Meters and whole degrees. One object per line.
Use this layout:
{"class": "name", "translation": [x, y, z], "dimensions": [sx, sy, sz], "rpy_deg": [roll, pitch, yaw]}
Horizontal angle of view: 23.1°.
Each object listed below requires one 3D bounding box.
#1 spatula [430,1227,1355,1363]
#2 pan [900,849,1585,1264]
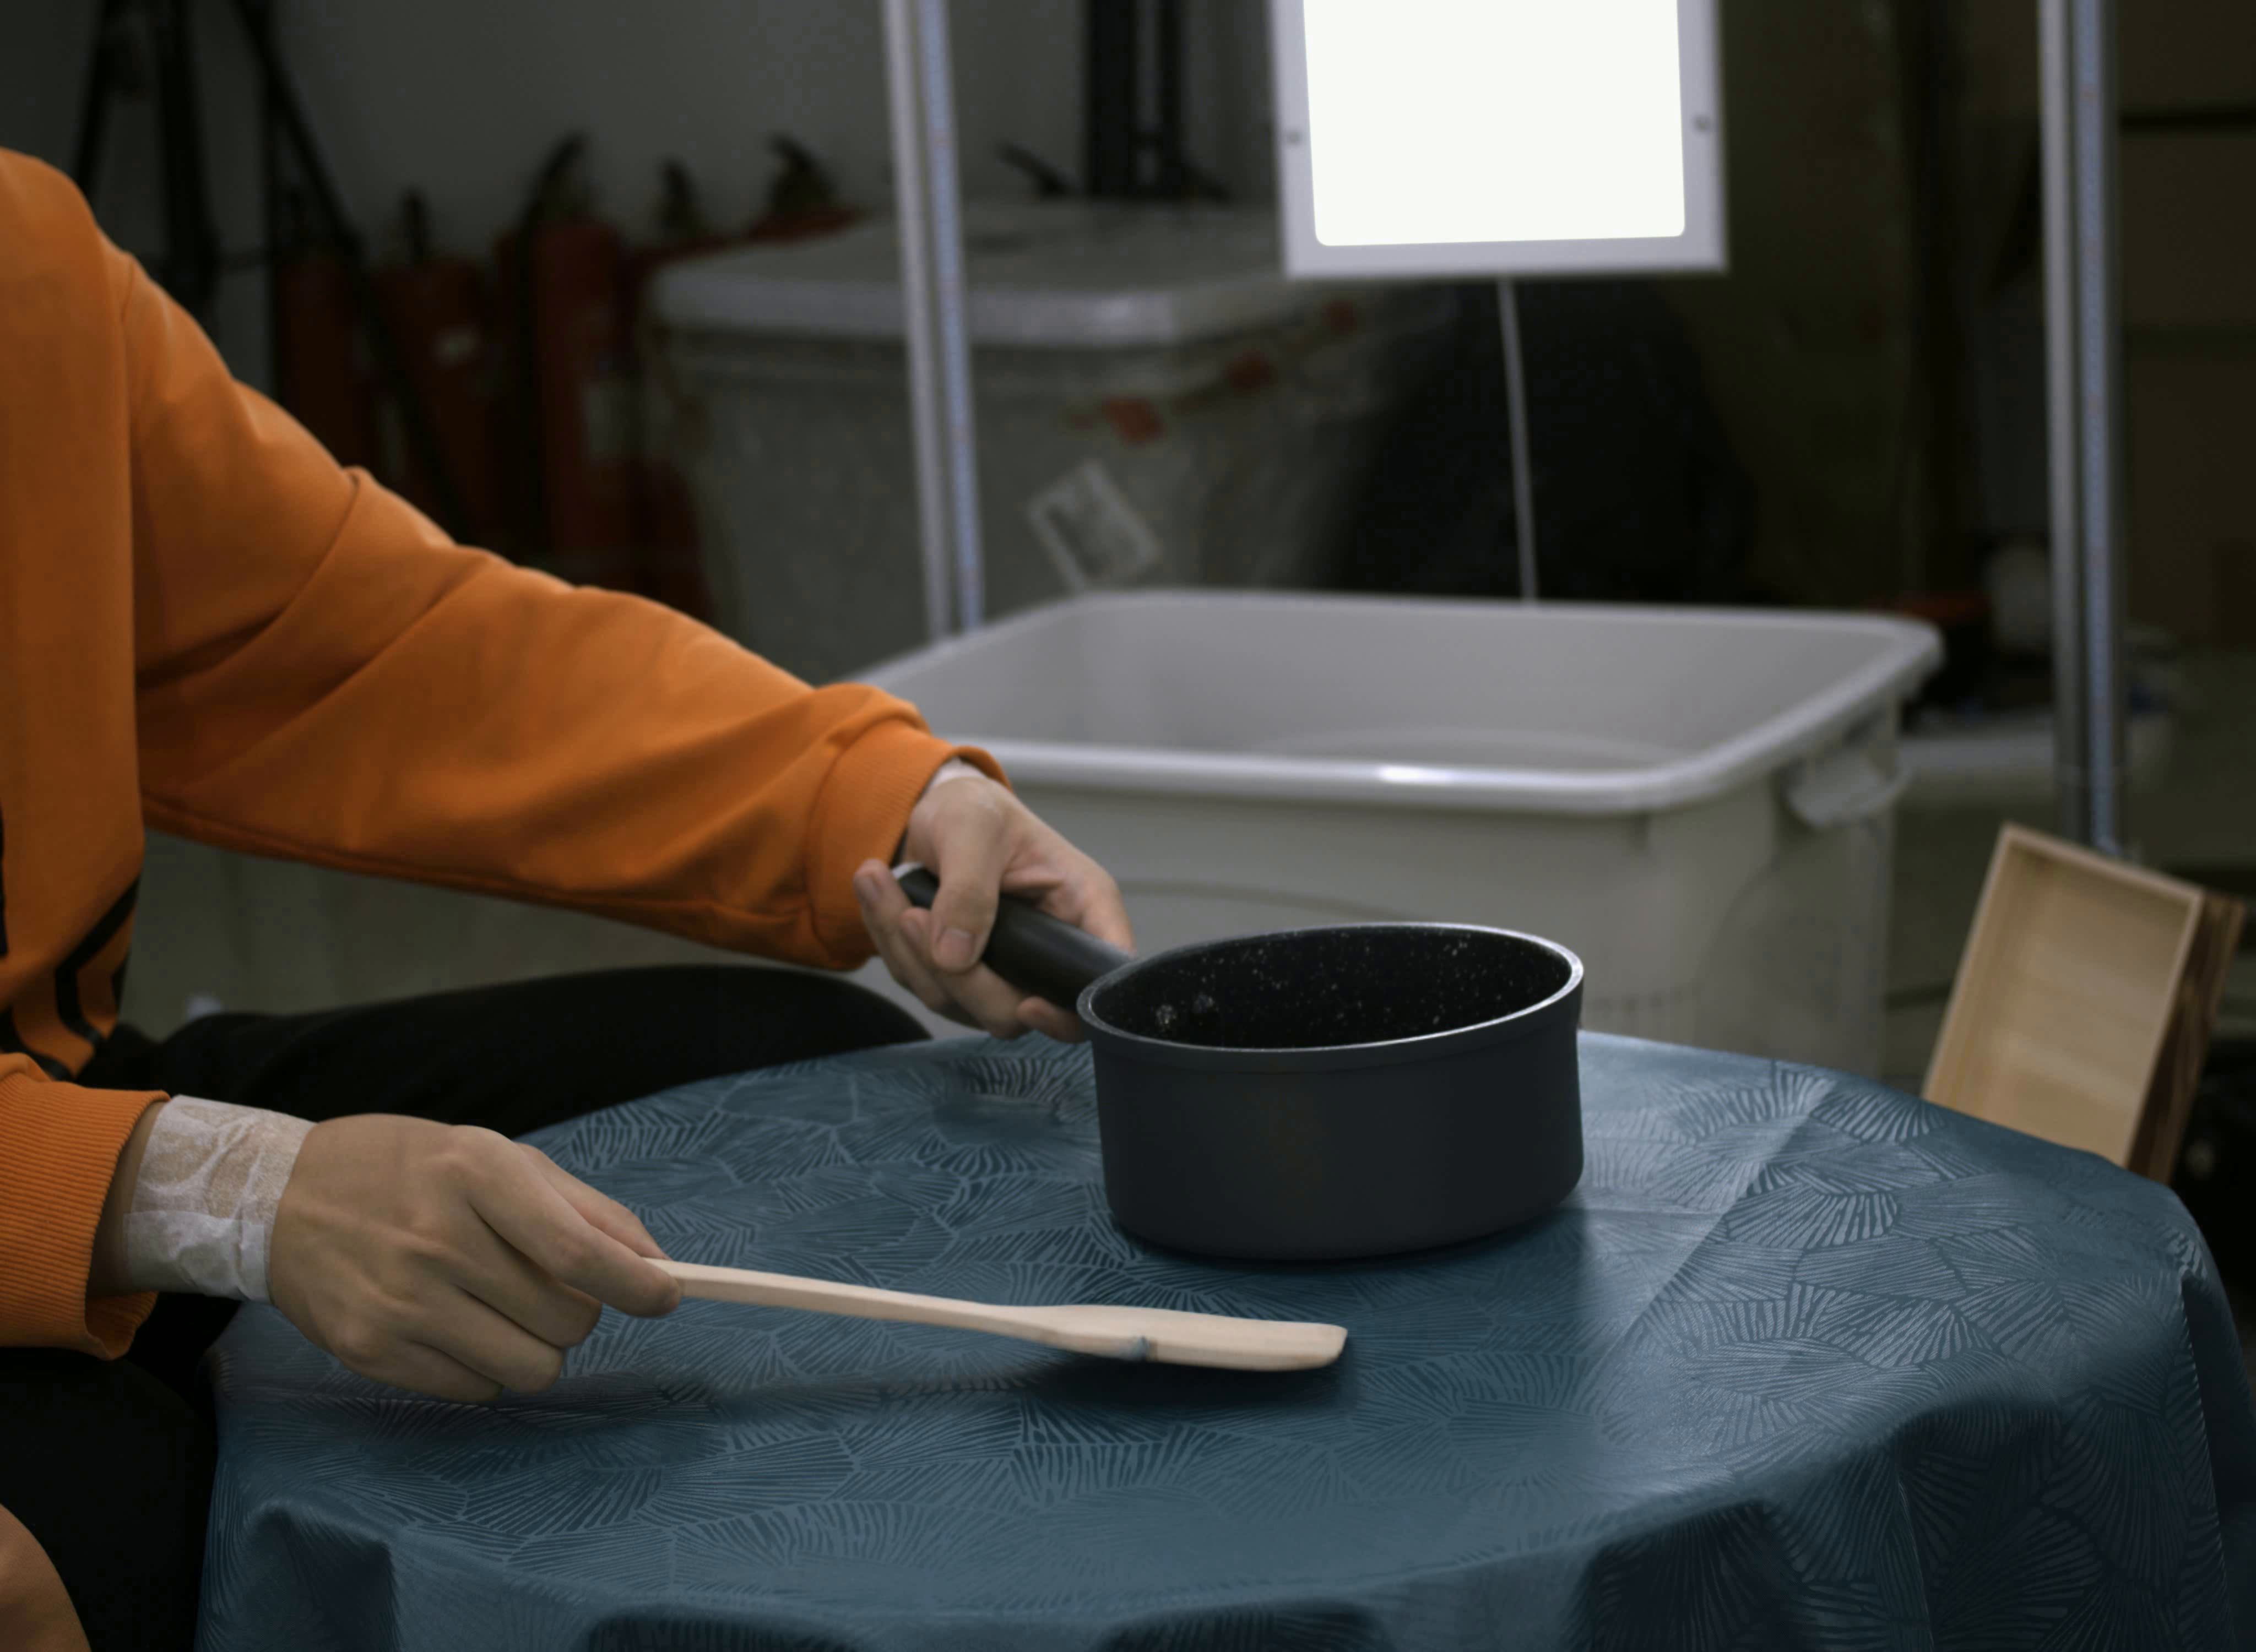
{"class": "spatula", "translation": [-0.075, 0.146, 1.722], "dimensions": [0.294, 0.011, 0.072], "rpy_deg": [6, 3, 8]}
{"class": "pan", "translation": [0.023, 0.075, 1.921], "dimensions": [0.168, 0.087, 0.335], "rpy_deg": [-13, 16, -33]}
